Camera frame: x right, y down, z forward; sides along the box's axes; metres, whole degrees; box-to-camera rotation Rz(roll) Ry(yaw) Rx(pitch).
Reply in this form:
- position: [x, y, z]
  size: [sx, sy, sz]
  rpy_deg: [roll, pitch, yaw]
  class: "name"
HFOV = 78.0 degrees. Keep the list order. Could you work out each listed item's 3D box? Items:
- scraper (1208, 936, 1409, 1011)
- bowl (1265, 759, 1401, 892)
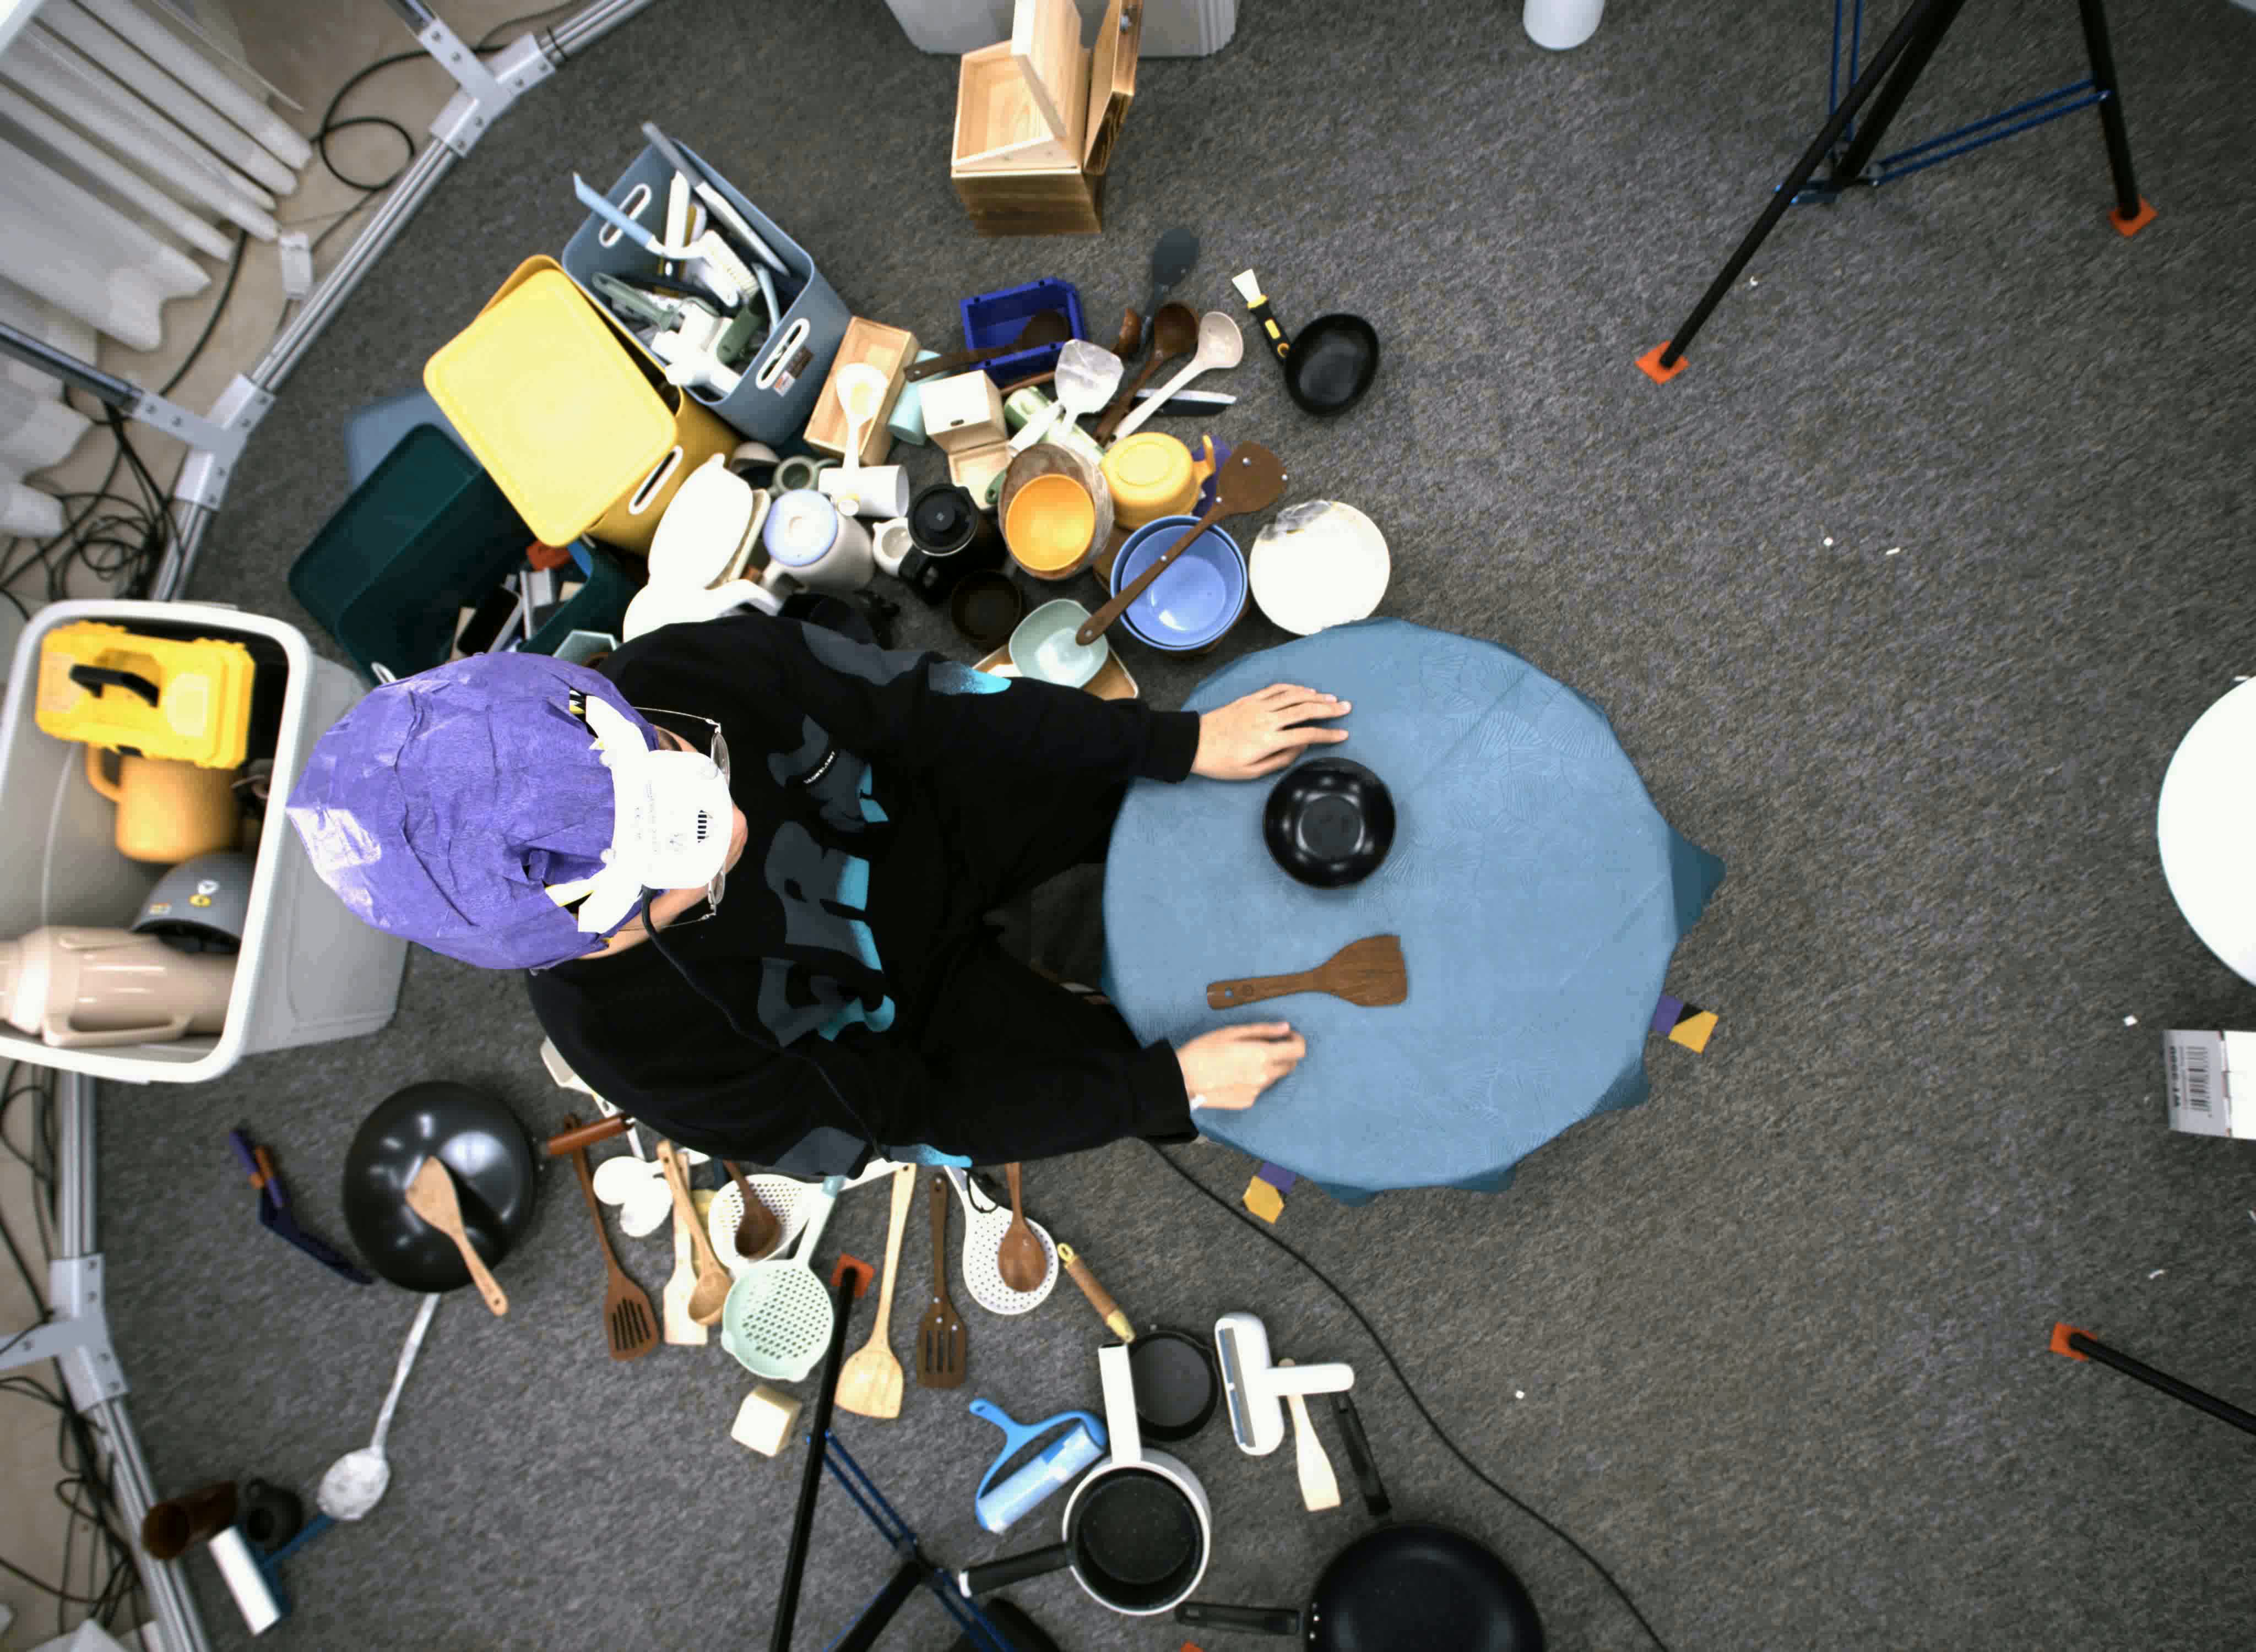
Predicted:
- position: [0.189, 0.167, 1.469]
  size: [0.212, 0.011, 0.075]
  rpy_deg: [-10, 83, 10]
  class: "scraper"
- position: [0.215, 0.000, 1.454]
  size: [0.140, 0.050, 0.139]
  rpy_deg: [0, 89, 9]
  class: "bowl"
